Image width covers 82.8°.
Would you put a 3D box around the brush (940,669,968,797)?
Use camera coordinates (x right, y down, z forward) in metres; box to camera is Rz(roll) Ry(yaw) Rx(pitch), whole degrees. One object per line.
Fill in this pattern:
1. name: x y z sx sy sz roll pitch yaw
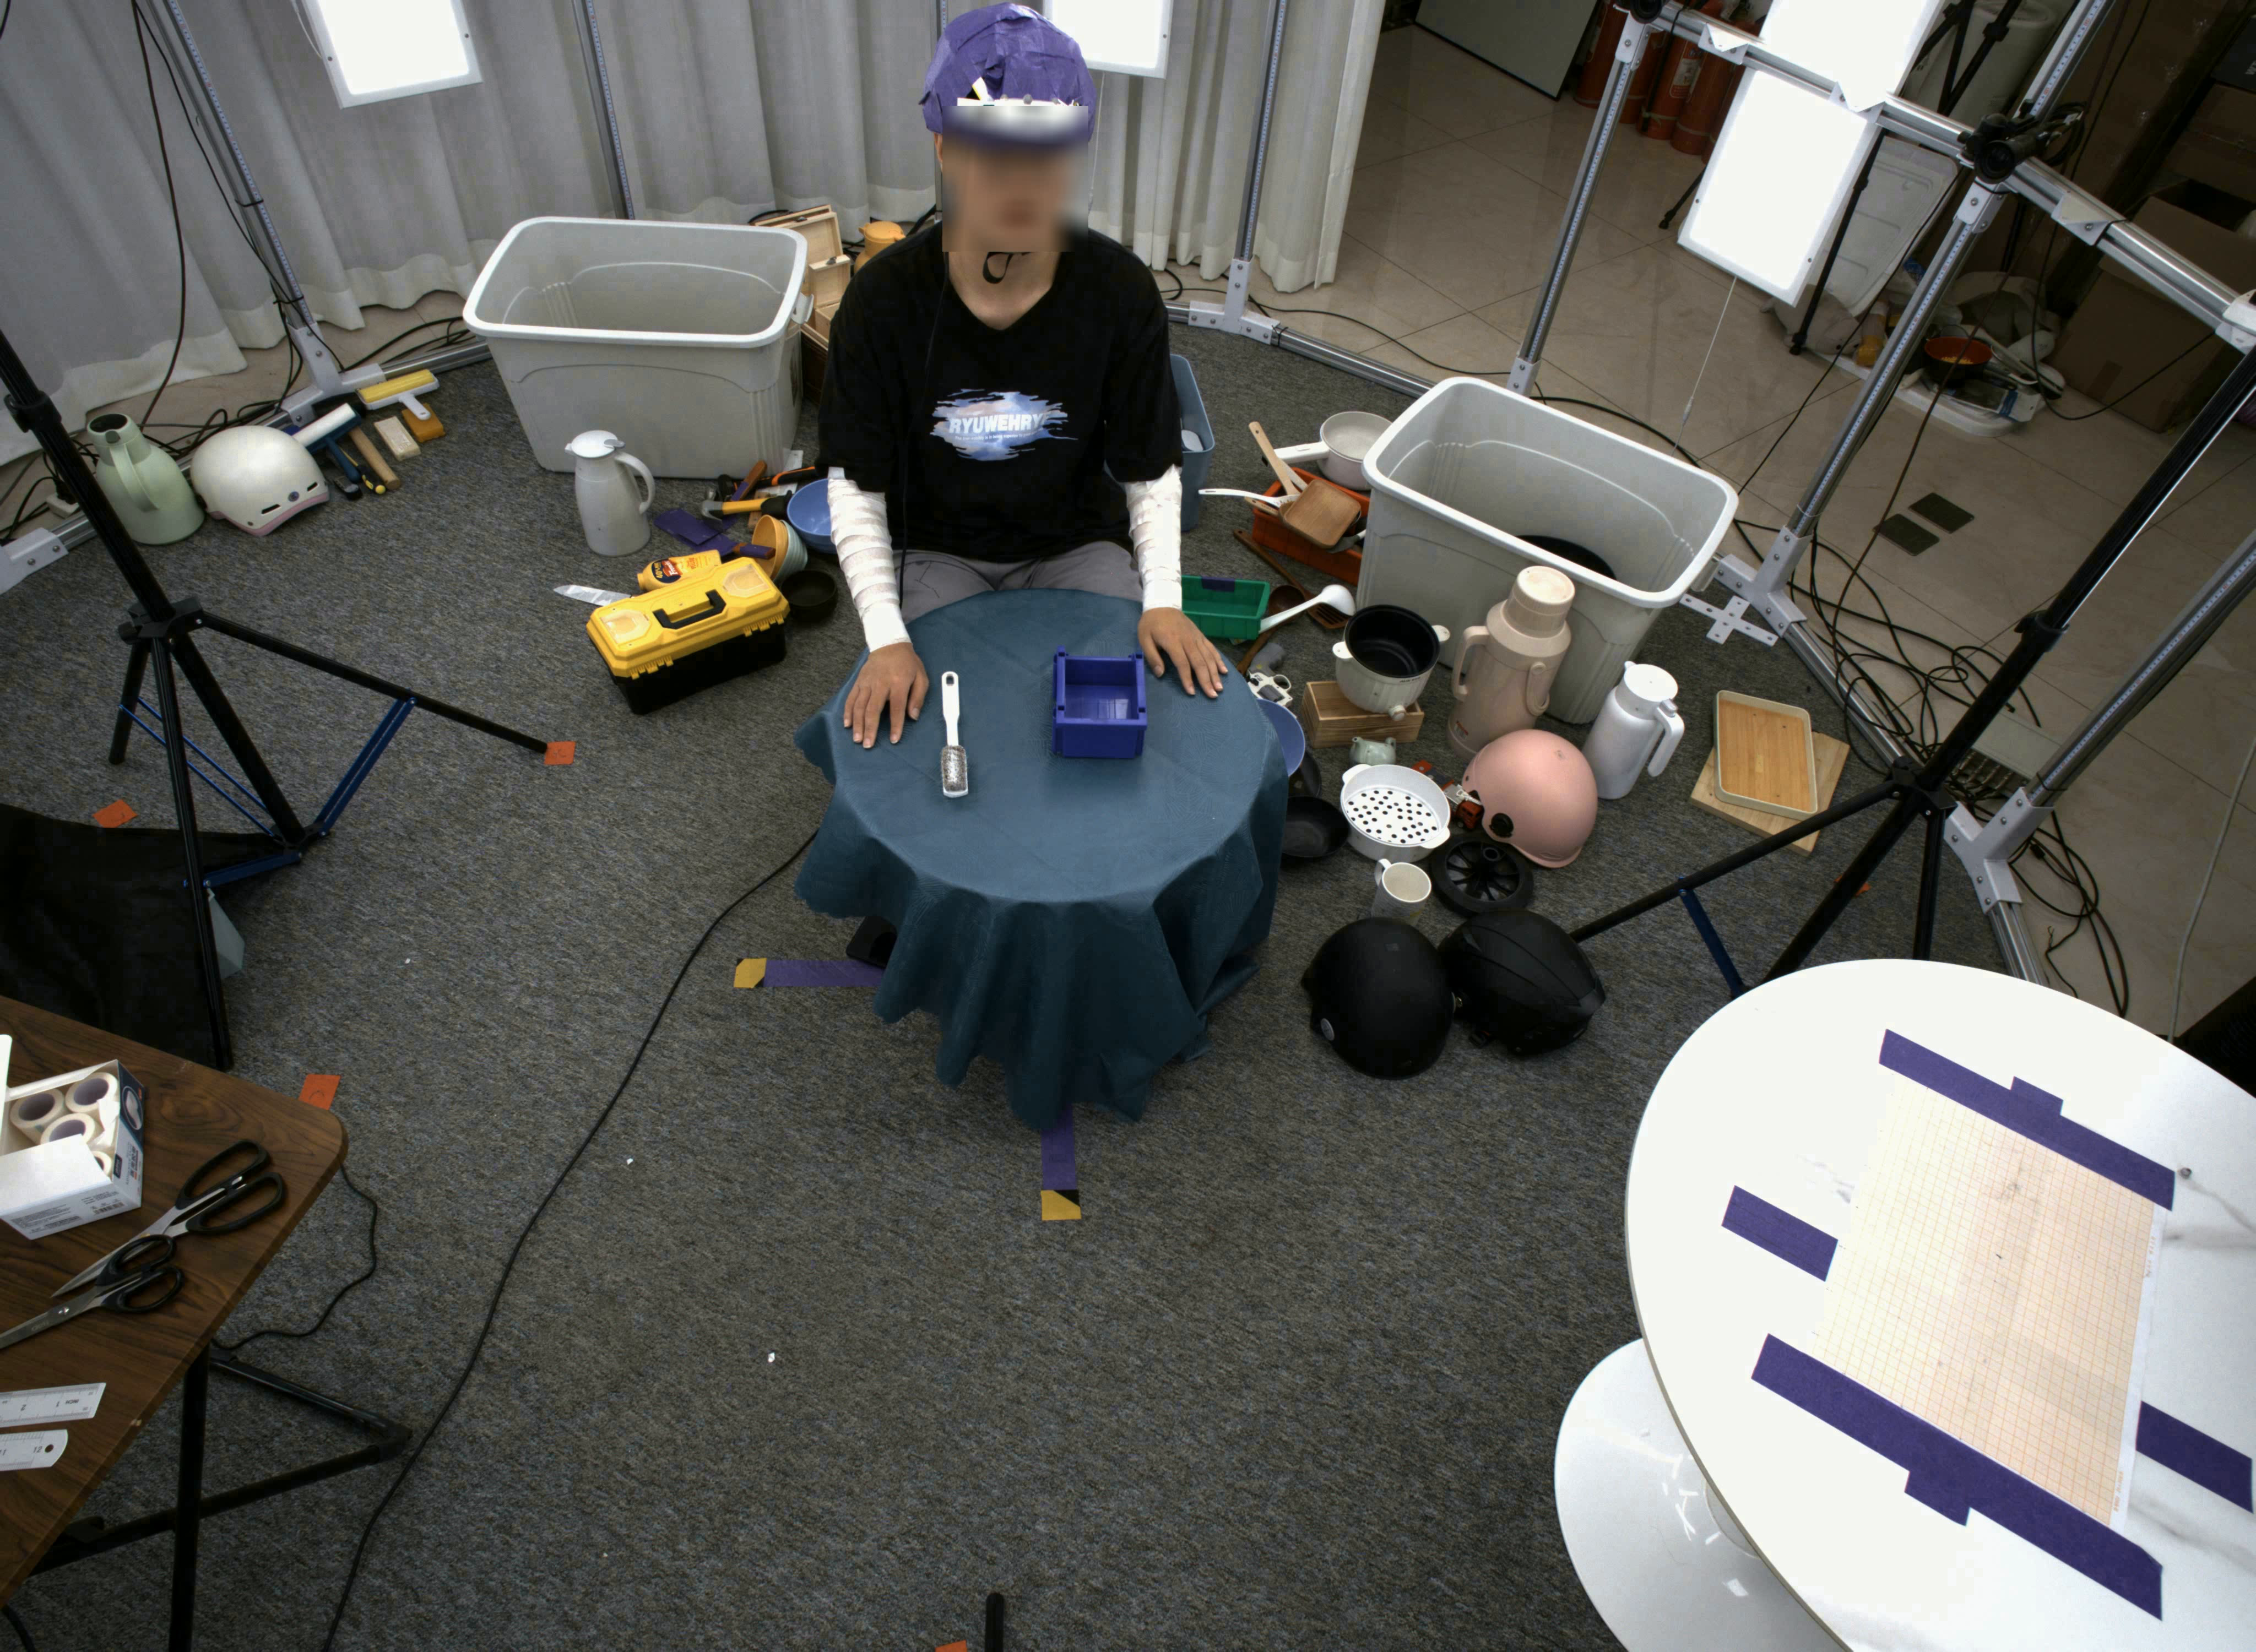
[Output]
1. brush: -0.236 -0.139 1.747 0.034 0.049 0.250 -2 50 -5

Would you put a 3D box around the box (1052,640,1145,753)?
1. box: -0.041 -0.186 1.779 0.124 0.080 0.184 2 51 -2
